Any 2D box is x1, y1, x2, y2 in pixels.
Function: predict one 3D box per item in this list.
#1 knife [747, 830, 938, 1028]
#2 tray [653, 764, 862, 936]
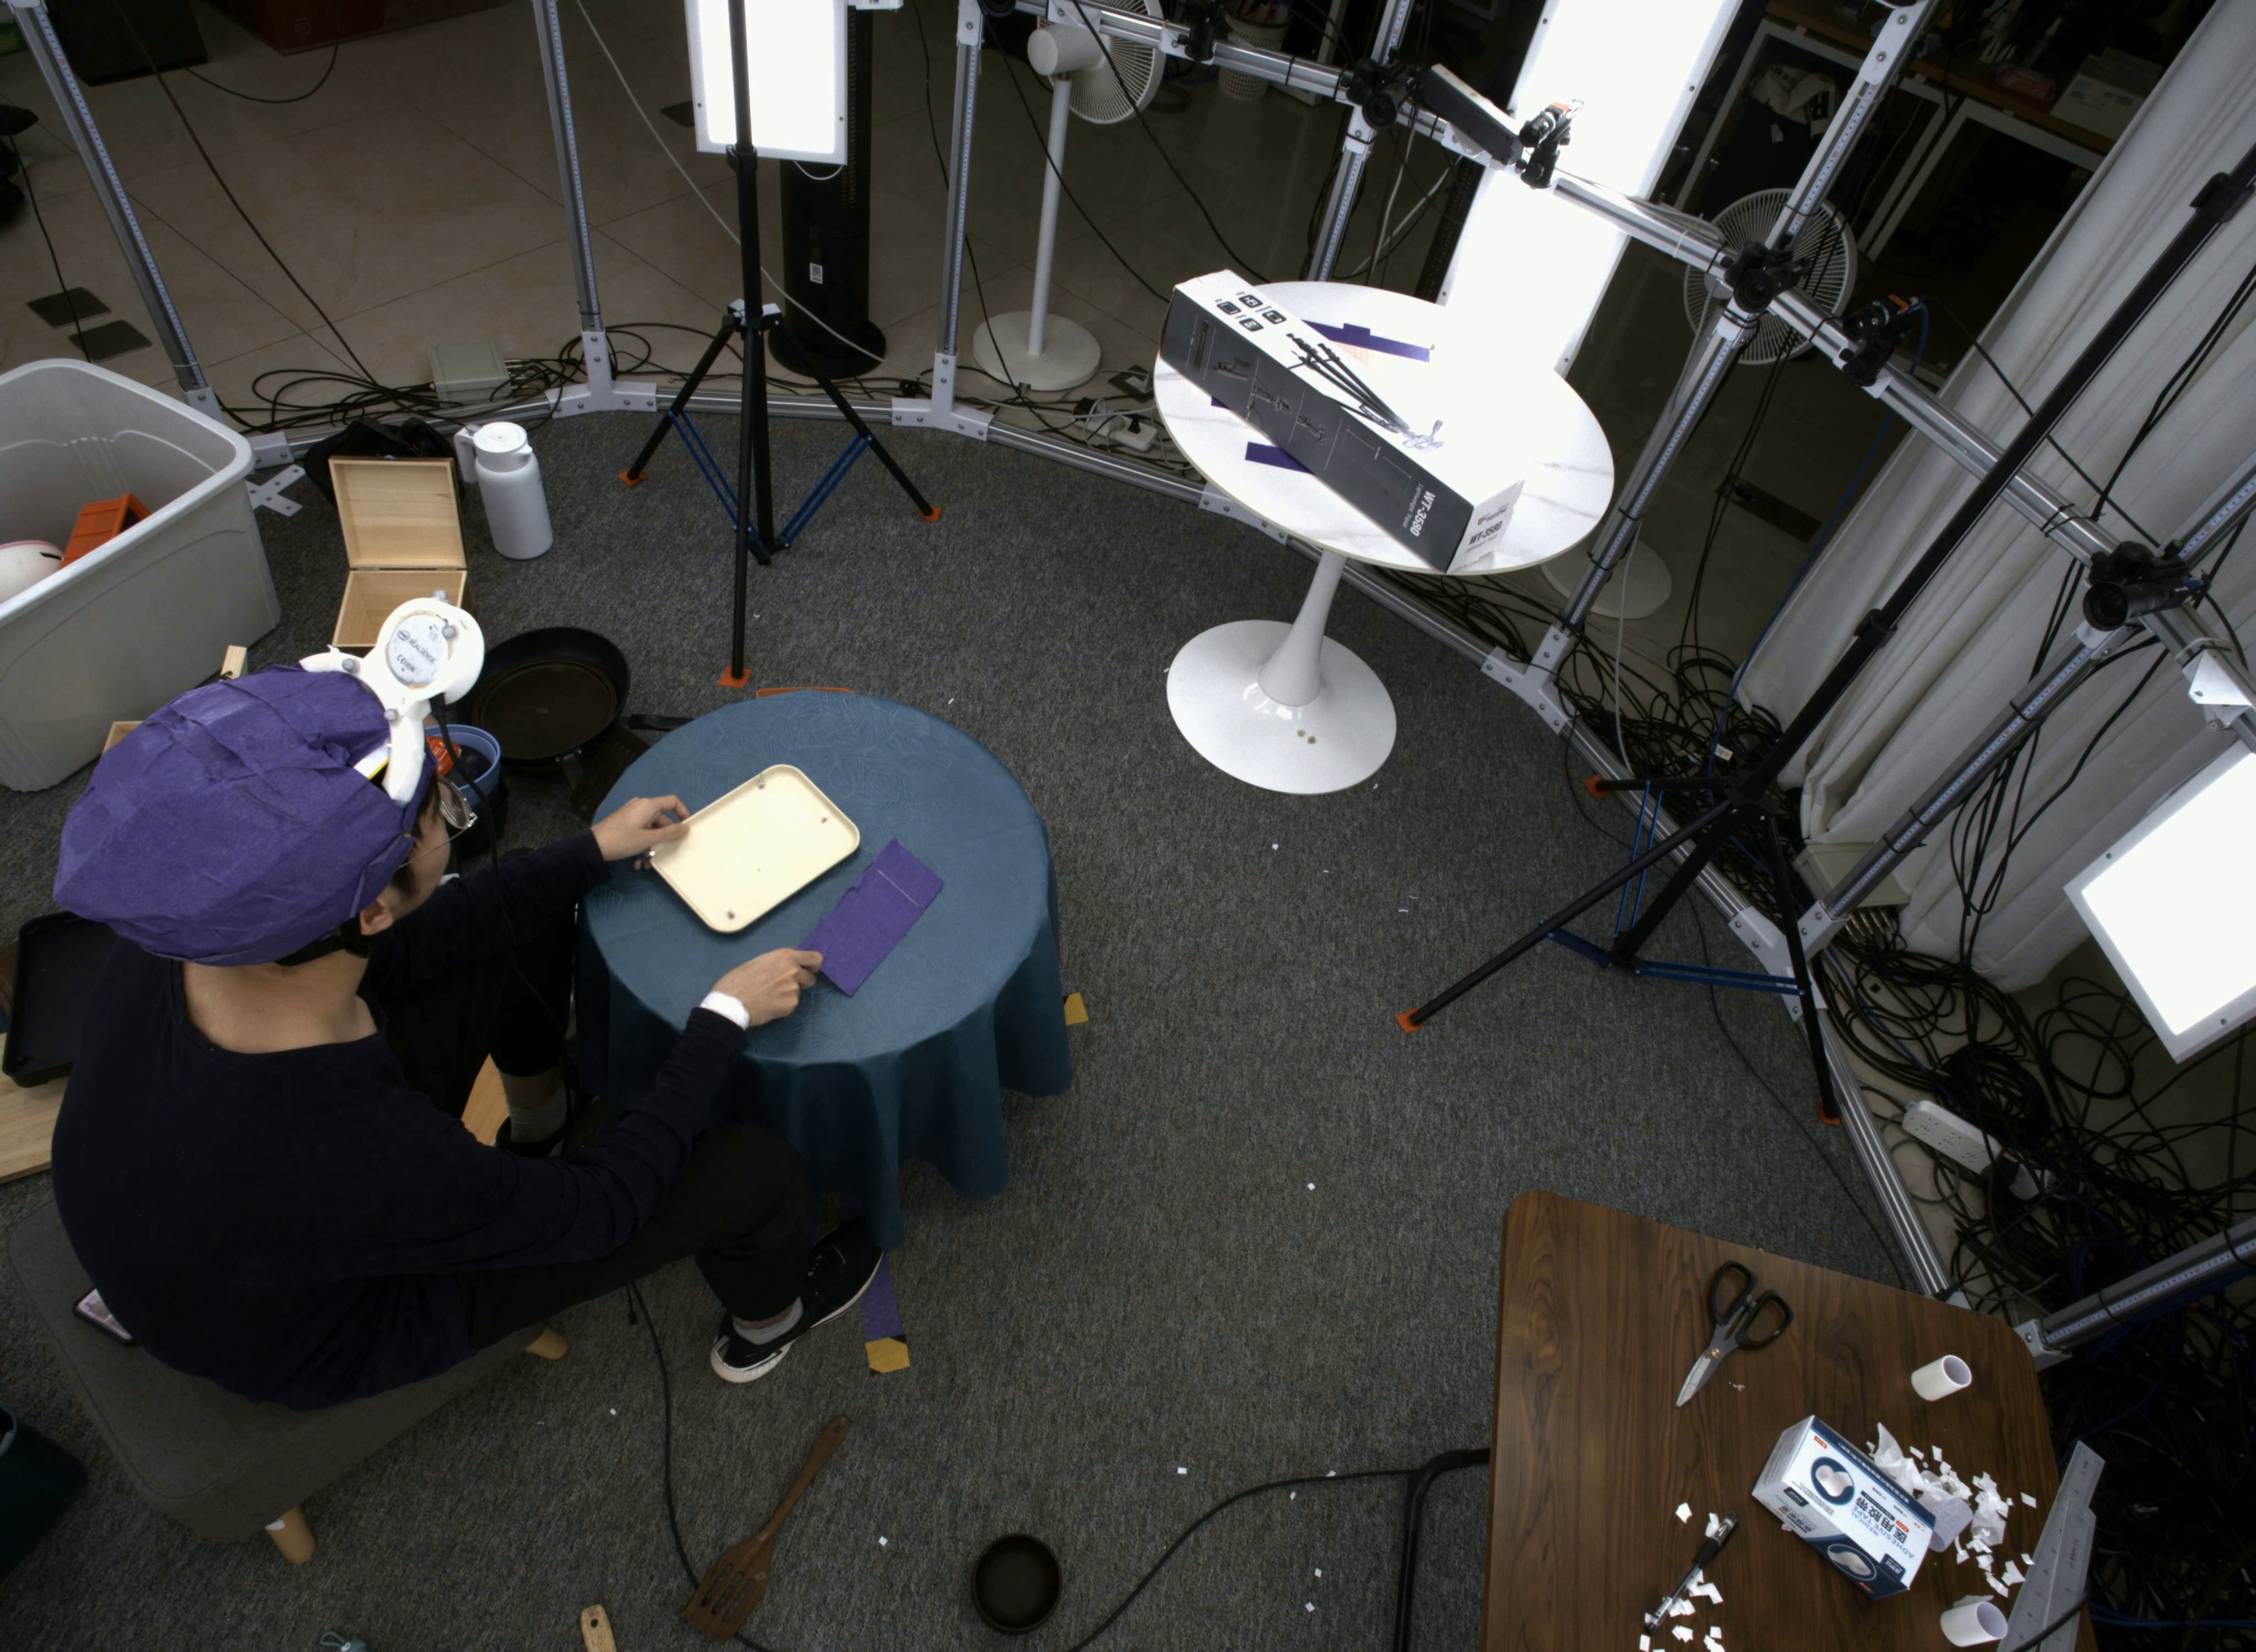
[{"bbox_3d":[-0.345,0.140,1.618,0.105,0.032,0.314,43,55,-12],"label":"knife"},{"bbox_3d":[-0.479,0.028,1.680,0.169,0.018,0.240,44,55,10],"label":"tray"}]
